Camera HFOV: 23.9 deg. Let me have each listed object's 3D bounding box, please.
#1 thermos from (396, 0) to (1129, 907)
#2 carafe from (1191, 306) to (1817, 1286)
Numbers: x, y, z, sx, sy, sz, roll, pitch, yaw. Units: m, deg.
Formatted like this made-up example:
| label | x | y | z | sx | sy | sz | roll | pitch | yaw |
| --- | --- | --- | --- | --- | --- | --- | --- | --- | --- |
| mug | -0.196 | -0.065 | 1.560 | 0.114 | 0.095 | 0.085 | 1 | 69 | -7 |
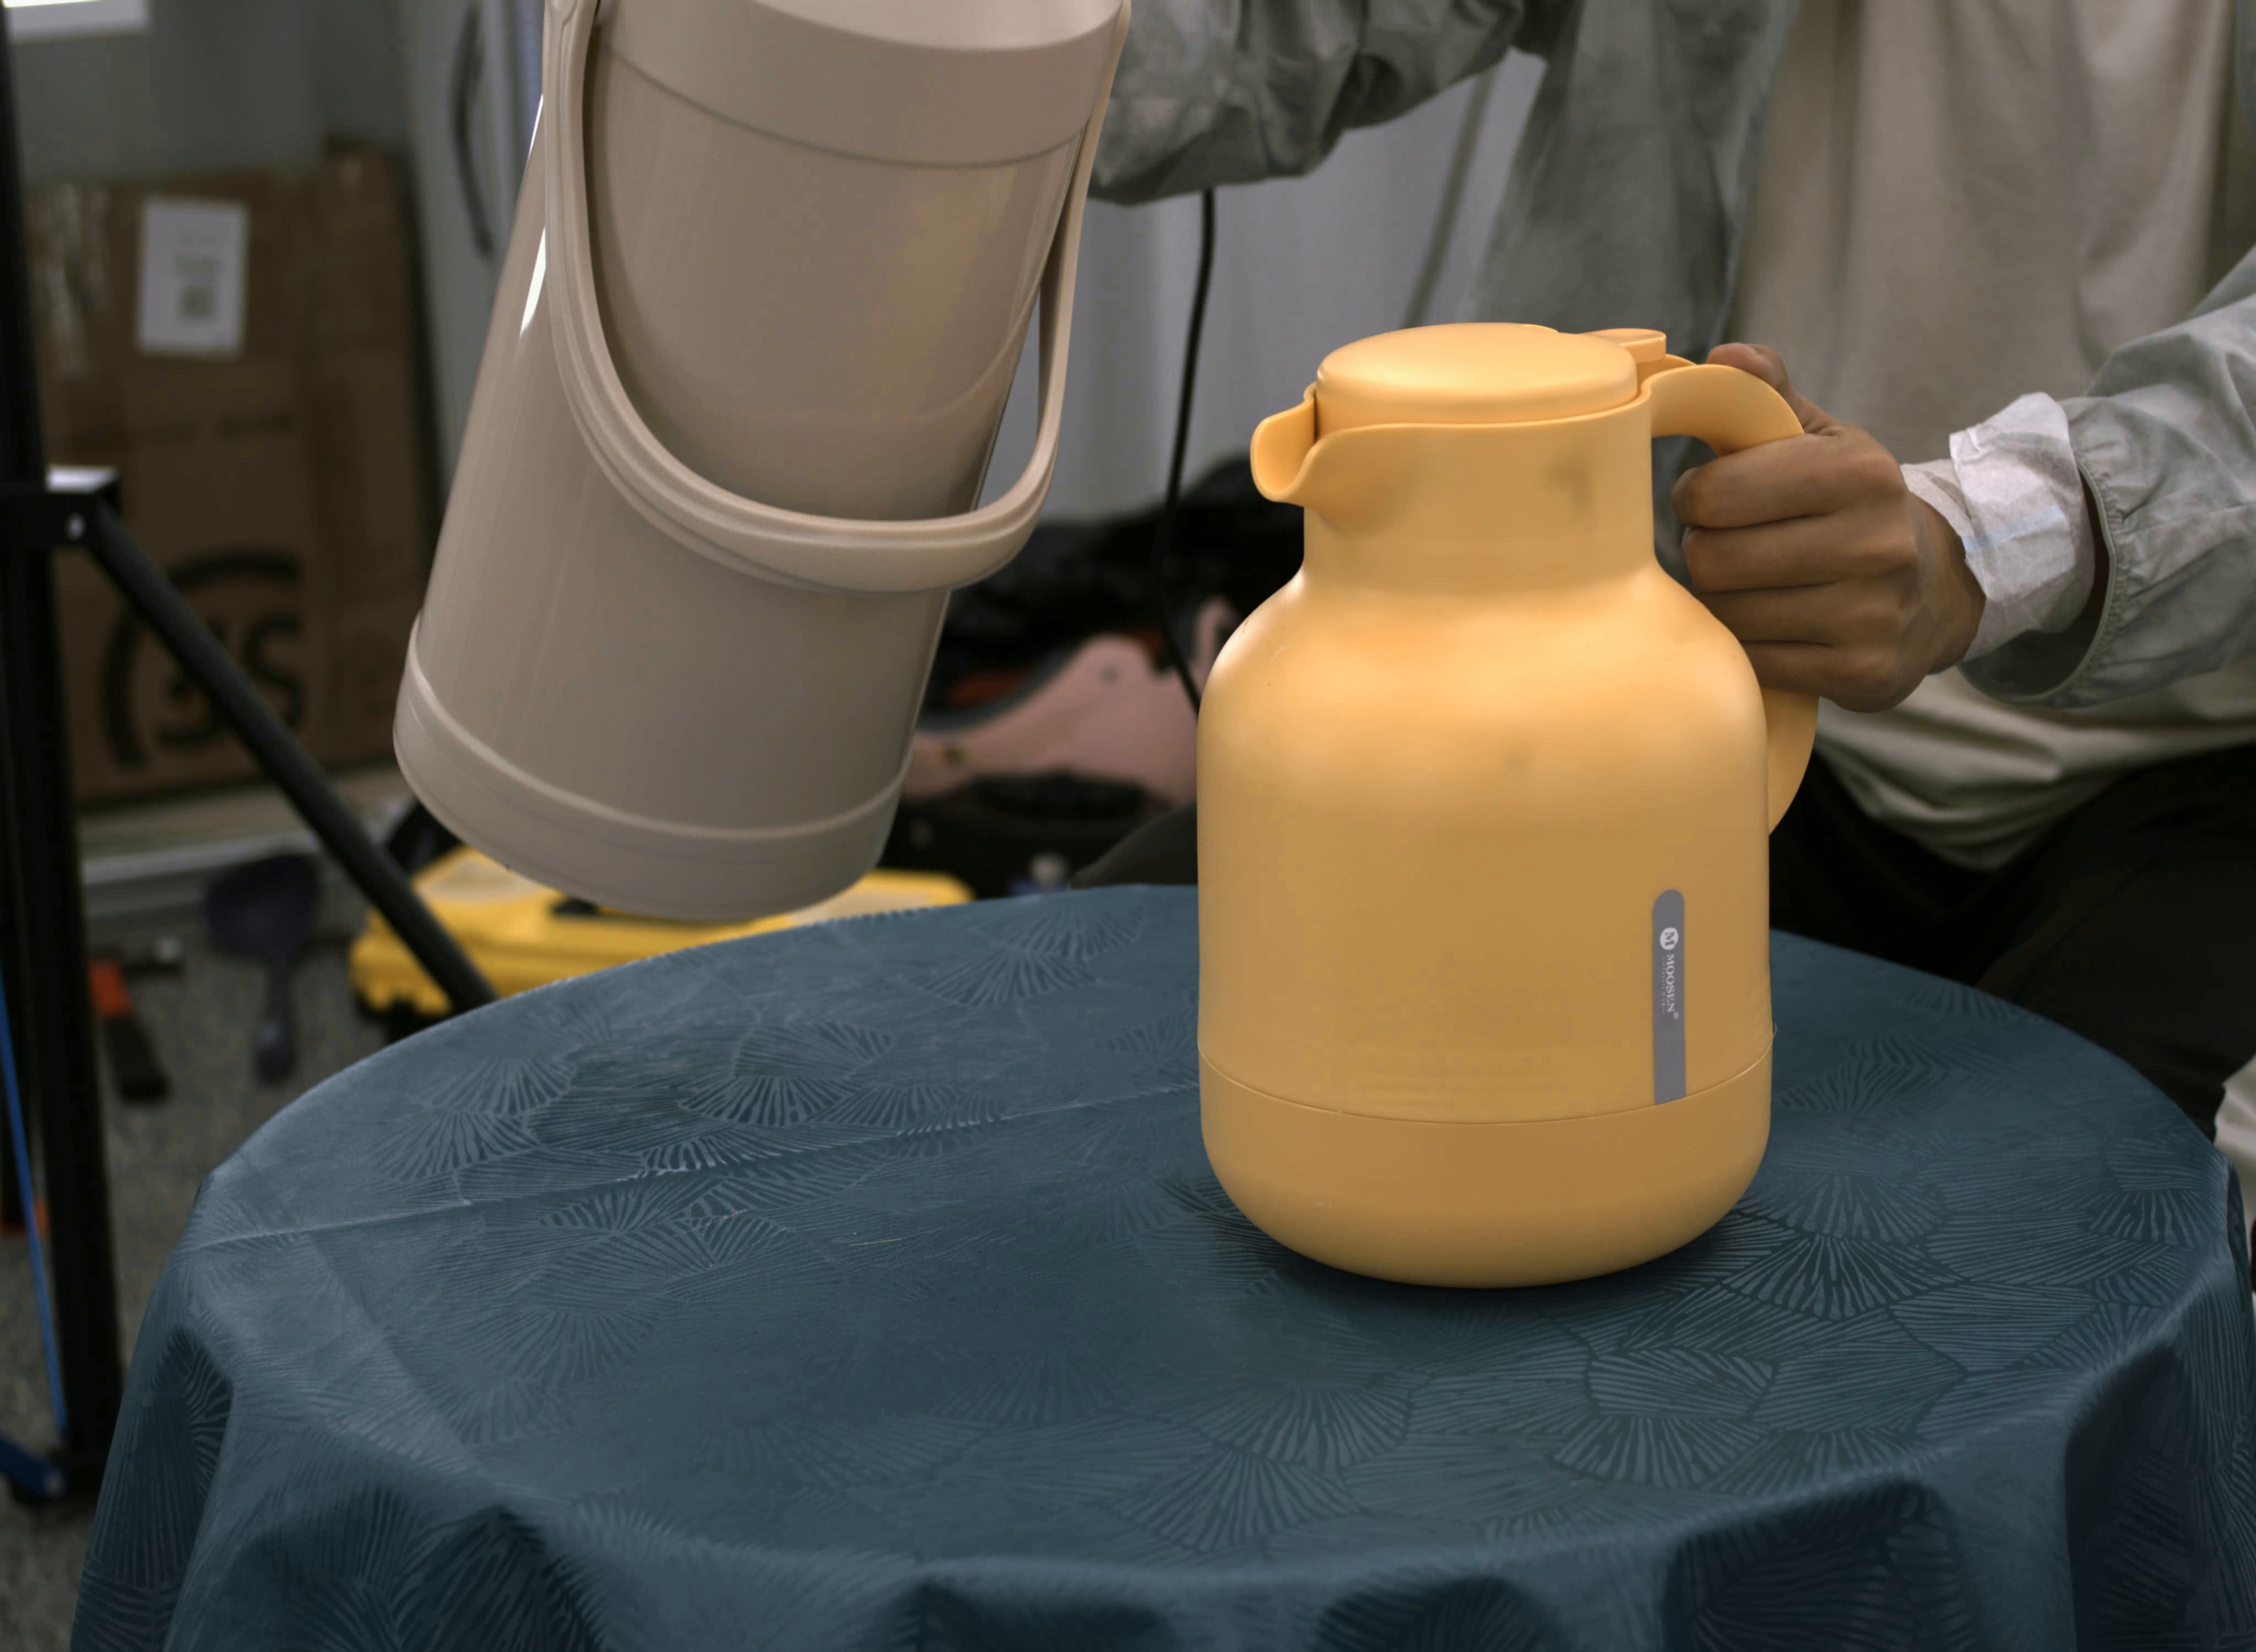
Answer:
| label | x | y | z | sx | sy | sz | roll | pitch | yaw |
| --- | --- | --- | --- | --- | --- | --- | --- | --- | --- |
| thermos | -0.105 | -0.191 | 1.583 | 0.171 | 0.407 | 0.211 | -1 | 36 | -27 |
| carafe | 0.114 | -0.015 | 1.494 | 0.198 | 0.260 | 0.167 | -13 | 21 | -32 |
